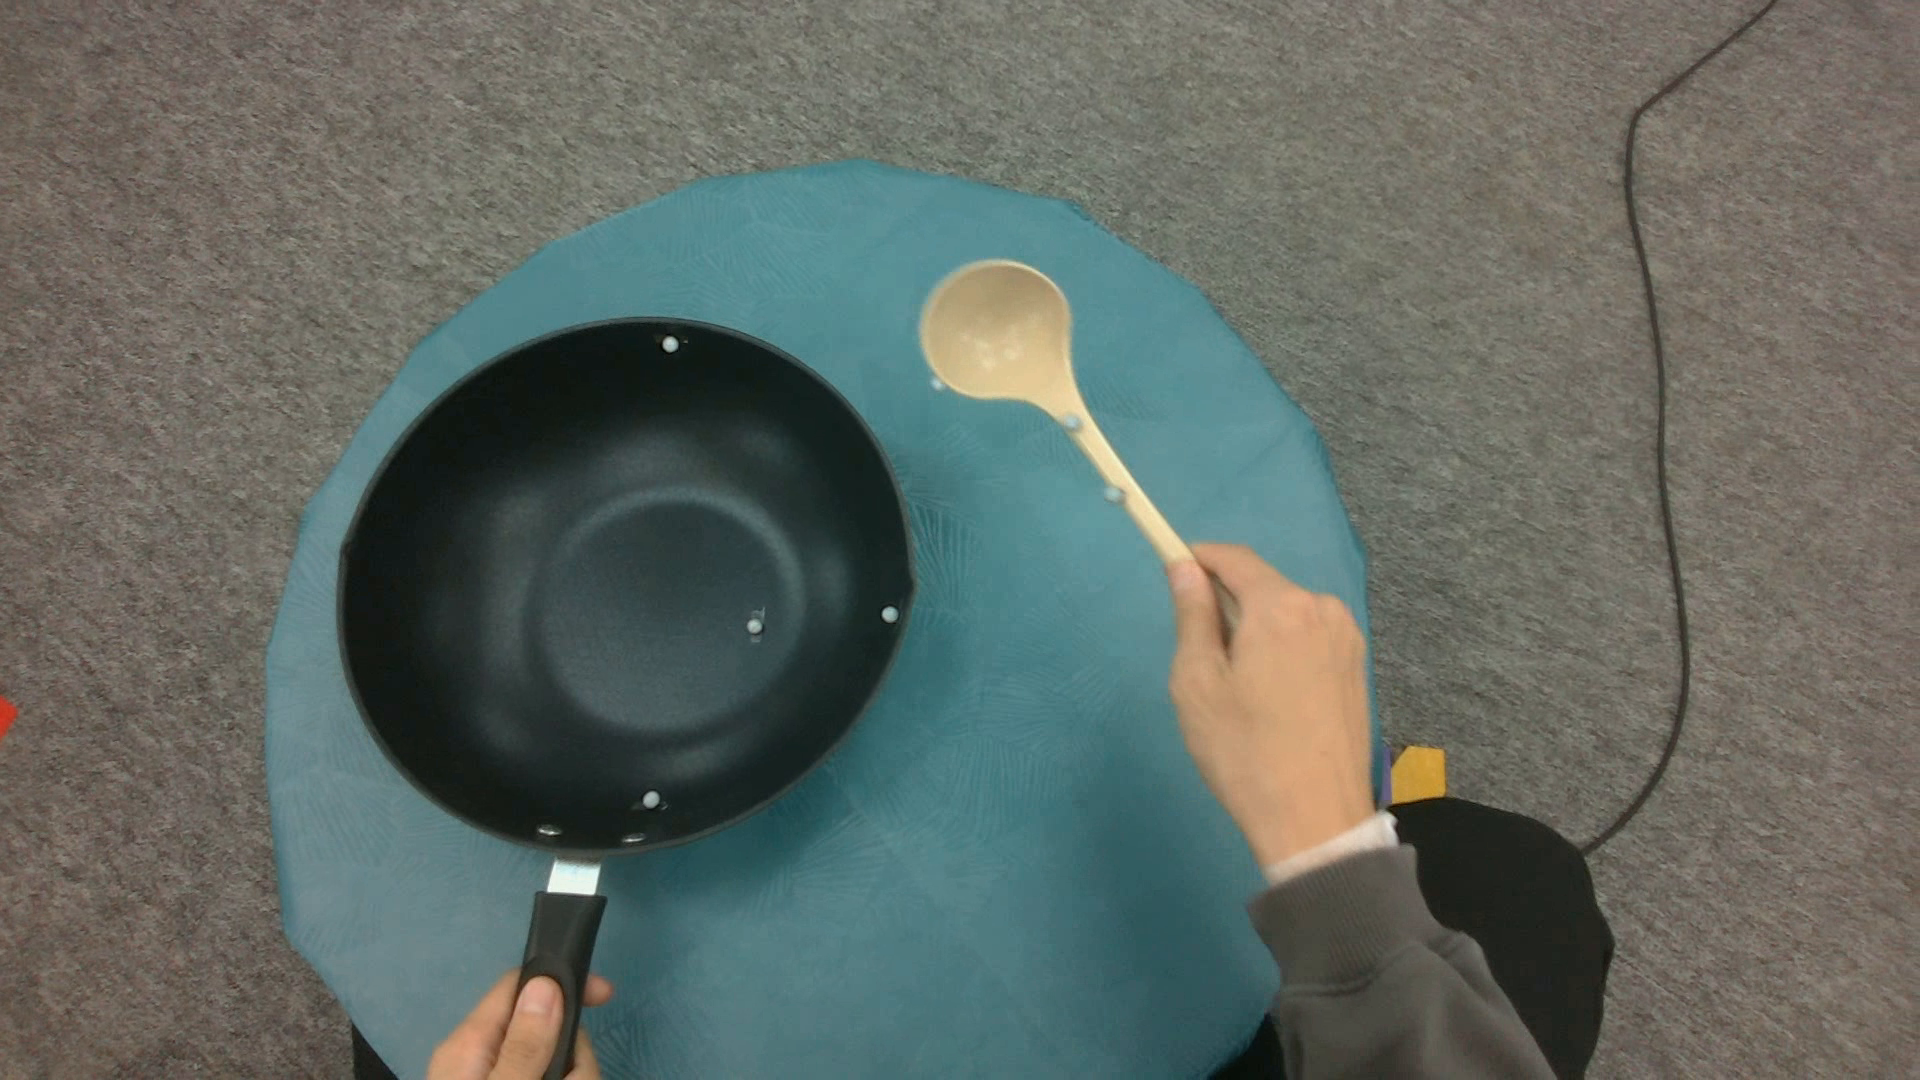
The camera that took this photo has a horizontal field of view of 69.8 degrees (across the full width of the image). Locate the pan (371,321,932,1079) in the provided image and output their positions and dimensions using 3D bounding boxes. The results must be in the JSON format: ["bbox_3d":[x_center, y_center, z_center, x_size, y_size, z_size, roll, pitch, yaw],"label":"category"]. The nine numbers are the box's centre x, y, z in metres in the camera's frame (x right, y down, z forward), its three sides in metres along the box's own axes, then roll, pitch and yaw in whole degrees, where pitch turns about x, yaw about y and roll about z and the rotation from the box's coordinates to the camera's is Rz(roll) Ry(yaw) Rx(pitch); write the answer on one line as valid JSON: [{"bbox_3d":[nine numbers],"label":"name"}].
[{"bbox_3d":[-0.165,0.114,0.700,0.288,0.086,0.464,5,71,4],"label":"pan"}]

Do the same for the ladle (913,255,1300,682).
[{"bbox_3d":[0.060,-0.037,0.626,0.072,0.073,0.255,-46,56,16],"label":"ladle"}]
